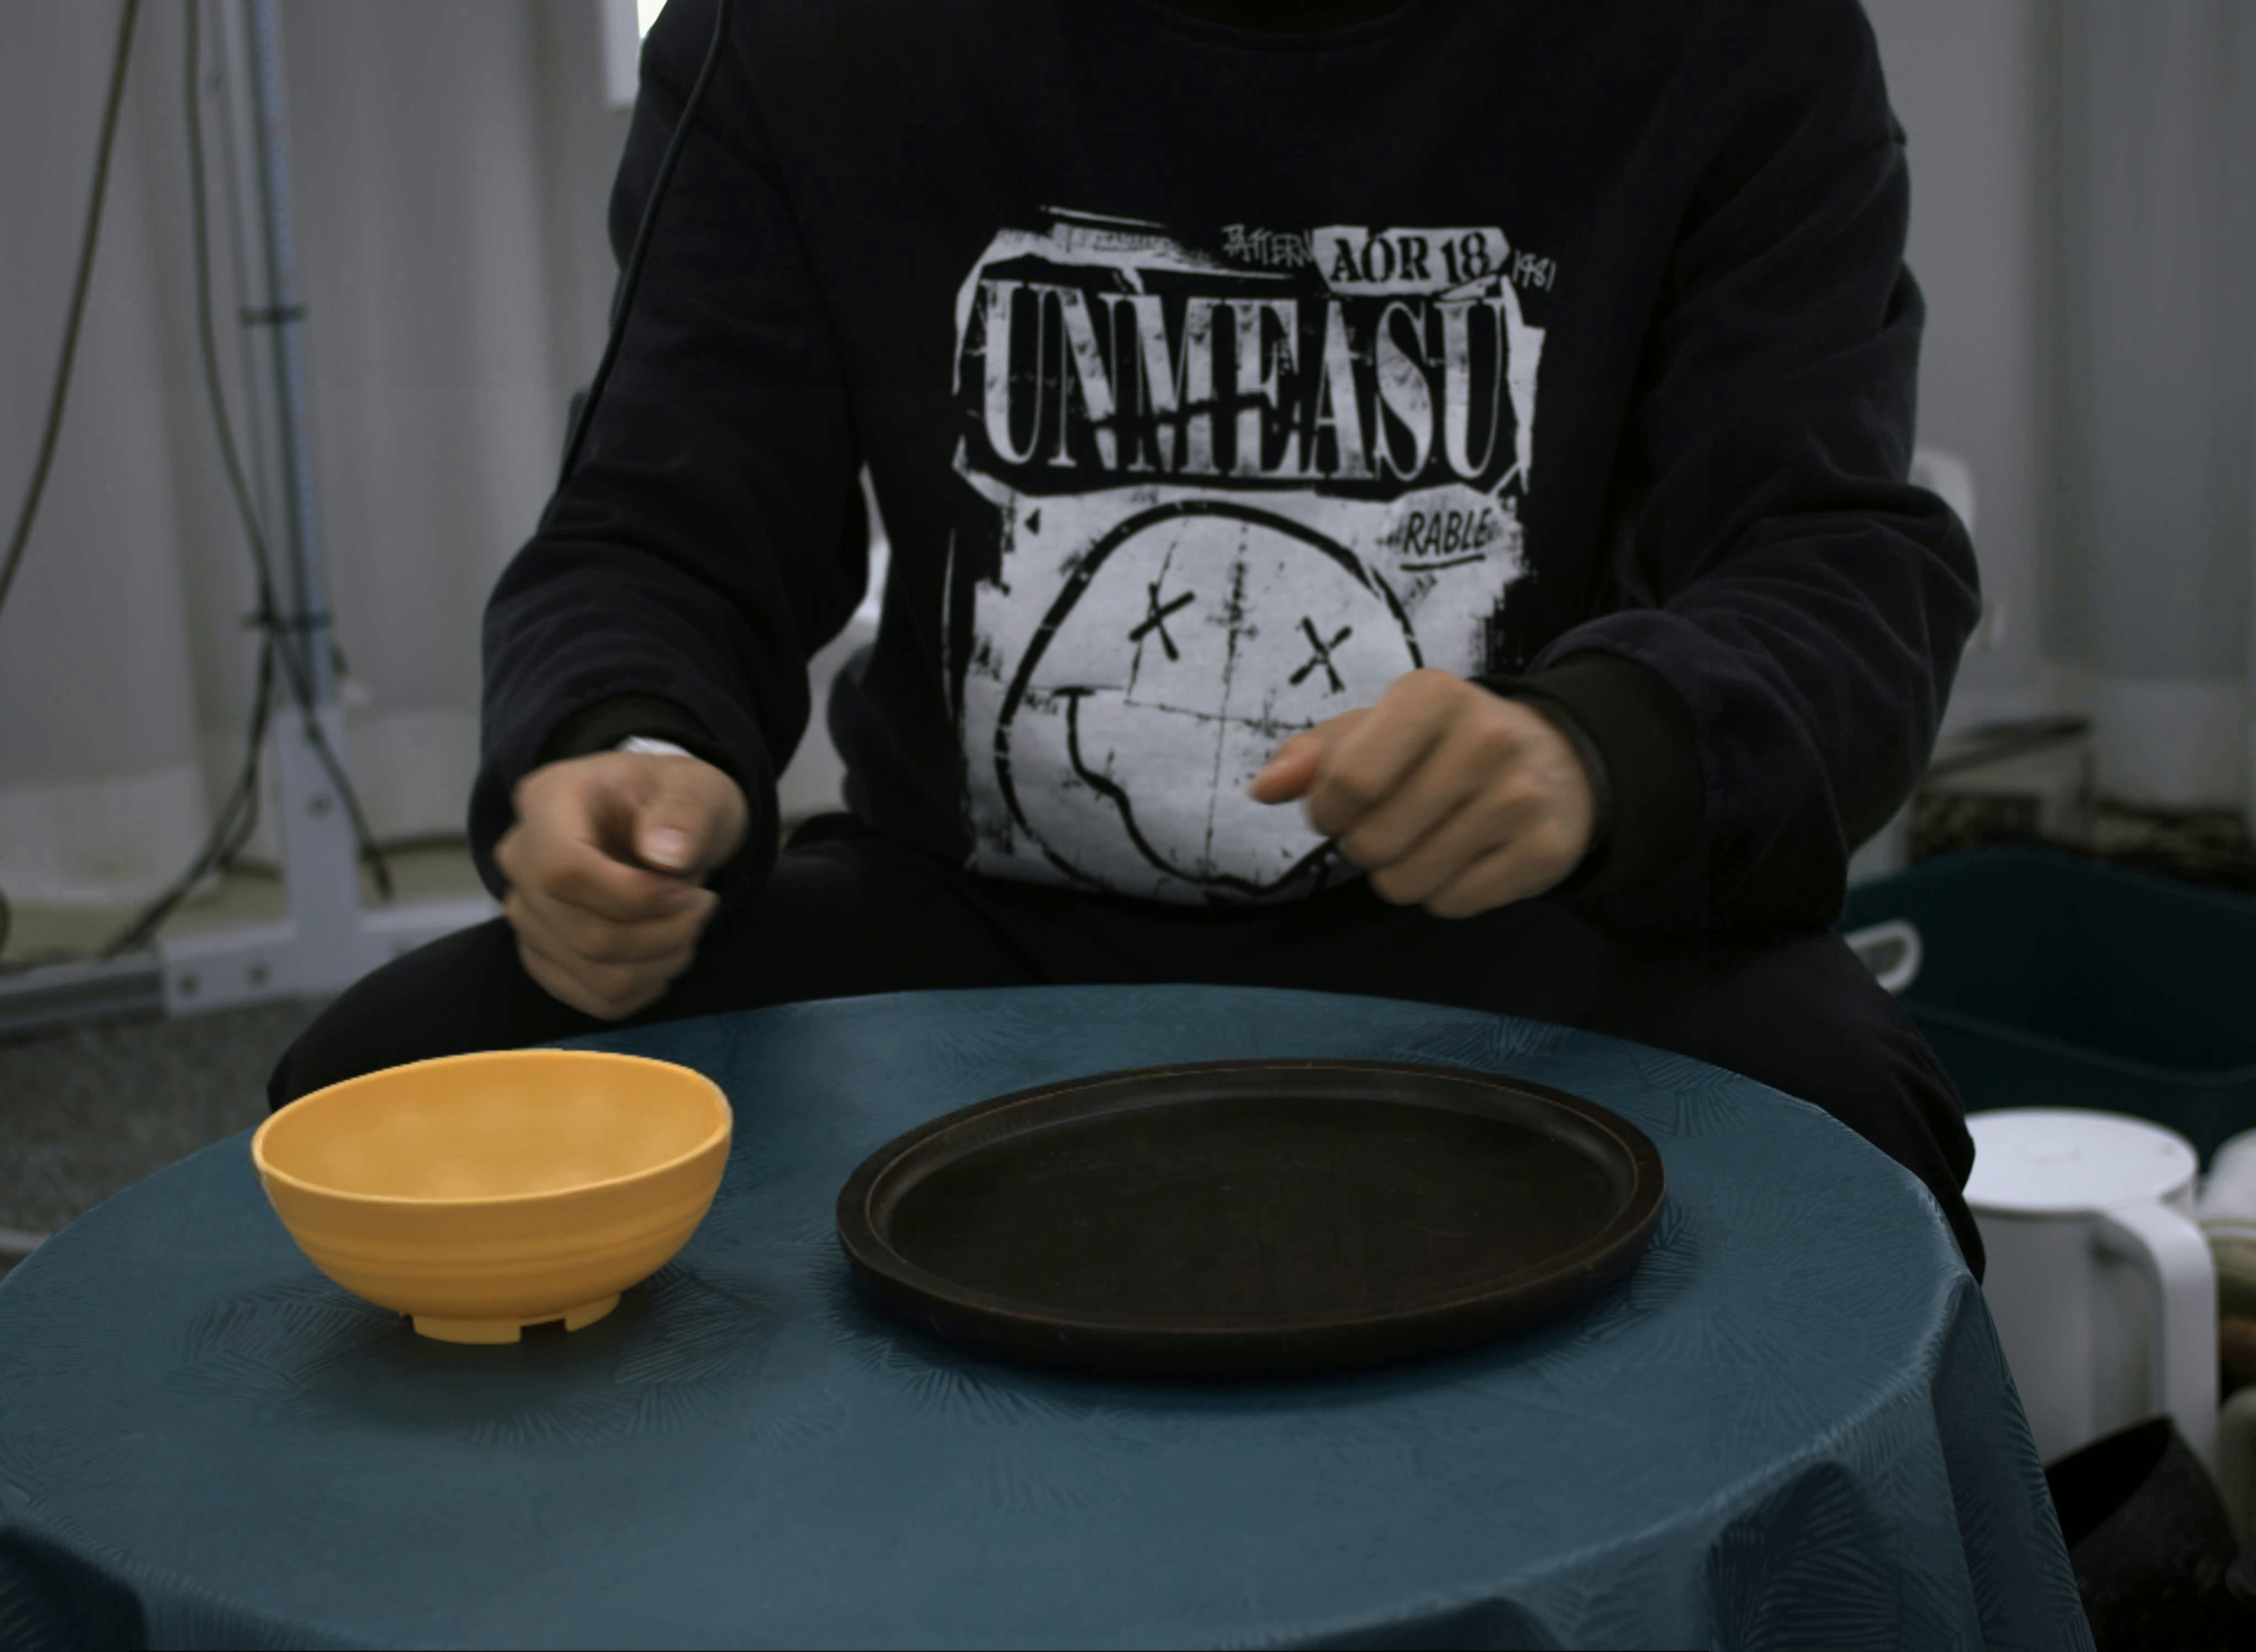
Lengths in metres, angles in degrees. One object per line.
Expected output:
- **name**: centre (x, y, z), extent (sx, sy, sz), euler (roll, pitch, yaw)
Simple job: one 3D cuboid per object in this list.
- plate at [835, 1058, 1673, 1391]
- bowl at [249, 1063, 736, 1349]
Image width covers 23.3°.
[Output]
- **plate**: centre (0.038, 0.118, 1.651), extent (0.254, 0.029, 0.256), euler (-4, 14, 1)
- **bowl**: centre (-0.188, 0.118, 1.632), extent (0.145, 0.060, 0.146), euler (-1, 13, 0)
